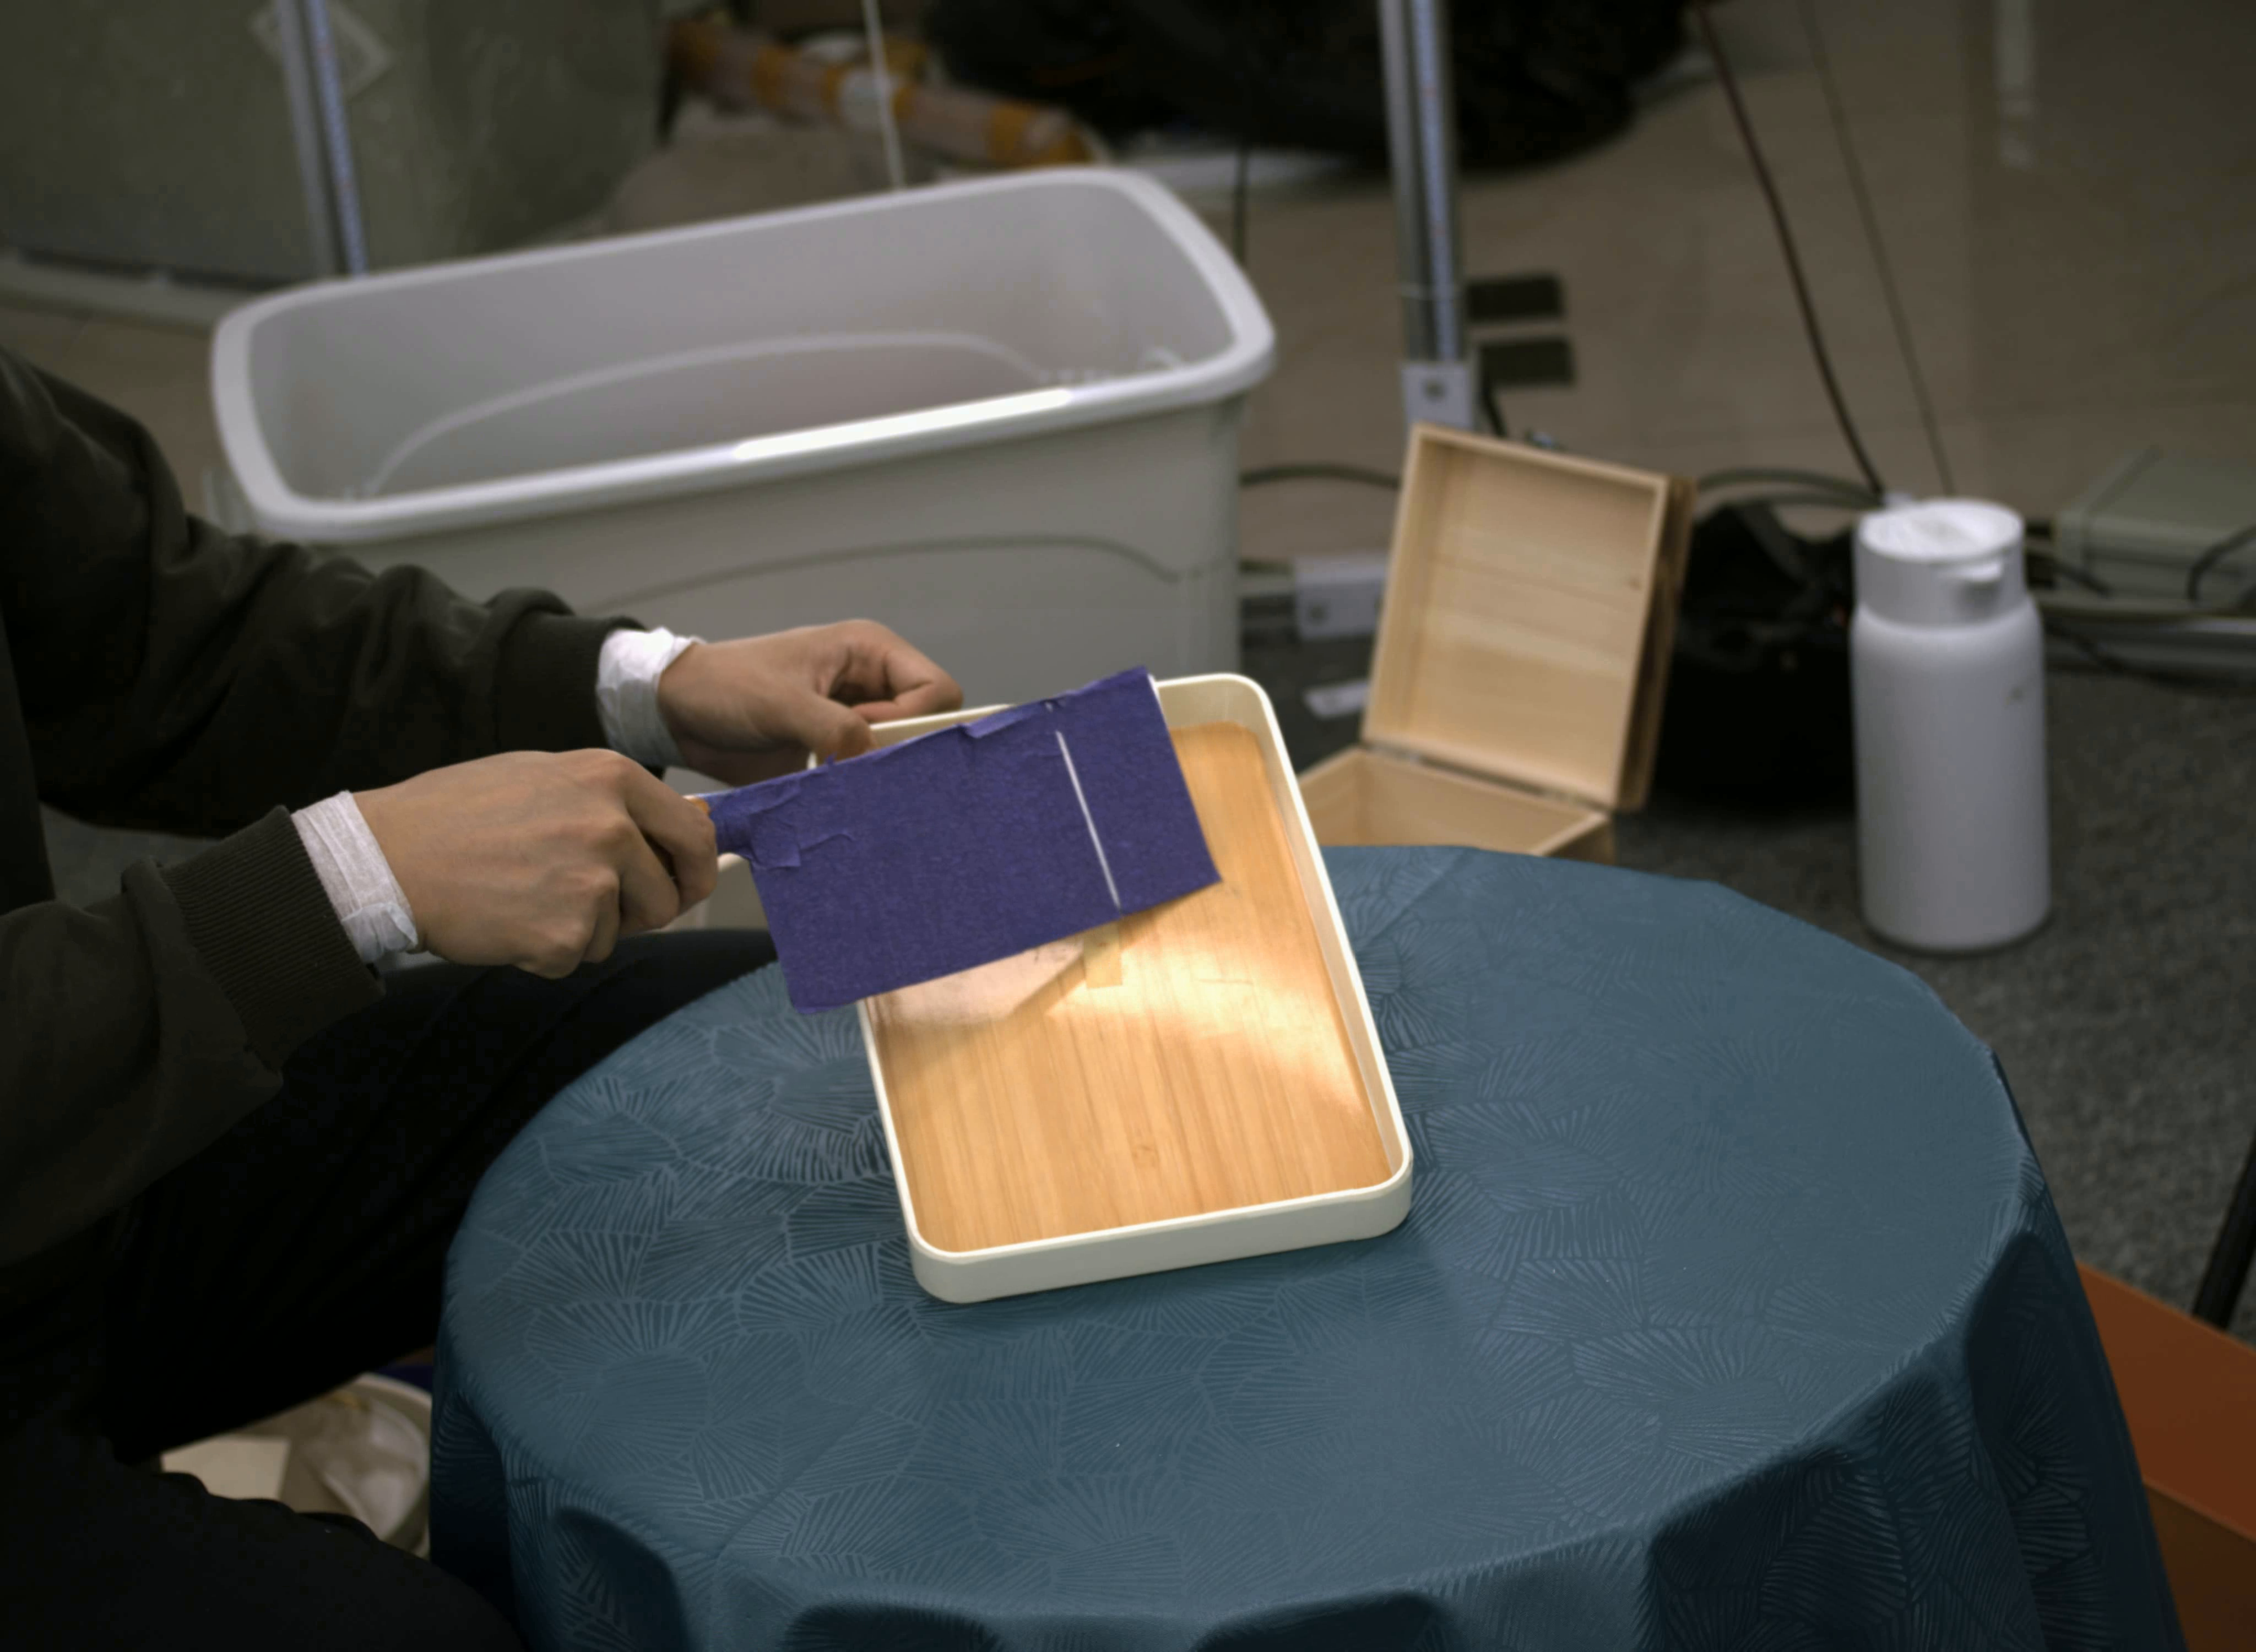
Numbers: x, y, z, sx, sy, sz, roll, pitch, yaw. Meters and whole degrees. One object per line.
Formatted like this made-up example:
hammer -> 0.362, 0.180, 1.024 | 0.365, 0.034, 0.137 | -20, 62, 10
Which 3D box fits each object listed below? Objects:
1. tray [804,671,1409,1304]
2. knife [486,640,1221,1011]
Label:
tray -> -0.012, 0.057, 2.189 | 0.191, 0.028, 0.295 | -9, 44, -6
knife -> -0.093, 0.015, 2.140 | 0.313, 0.104, 0.032 | -19, 0, -33
